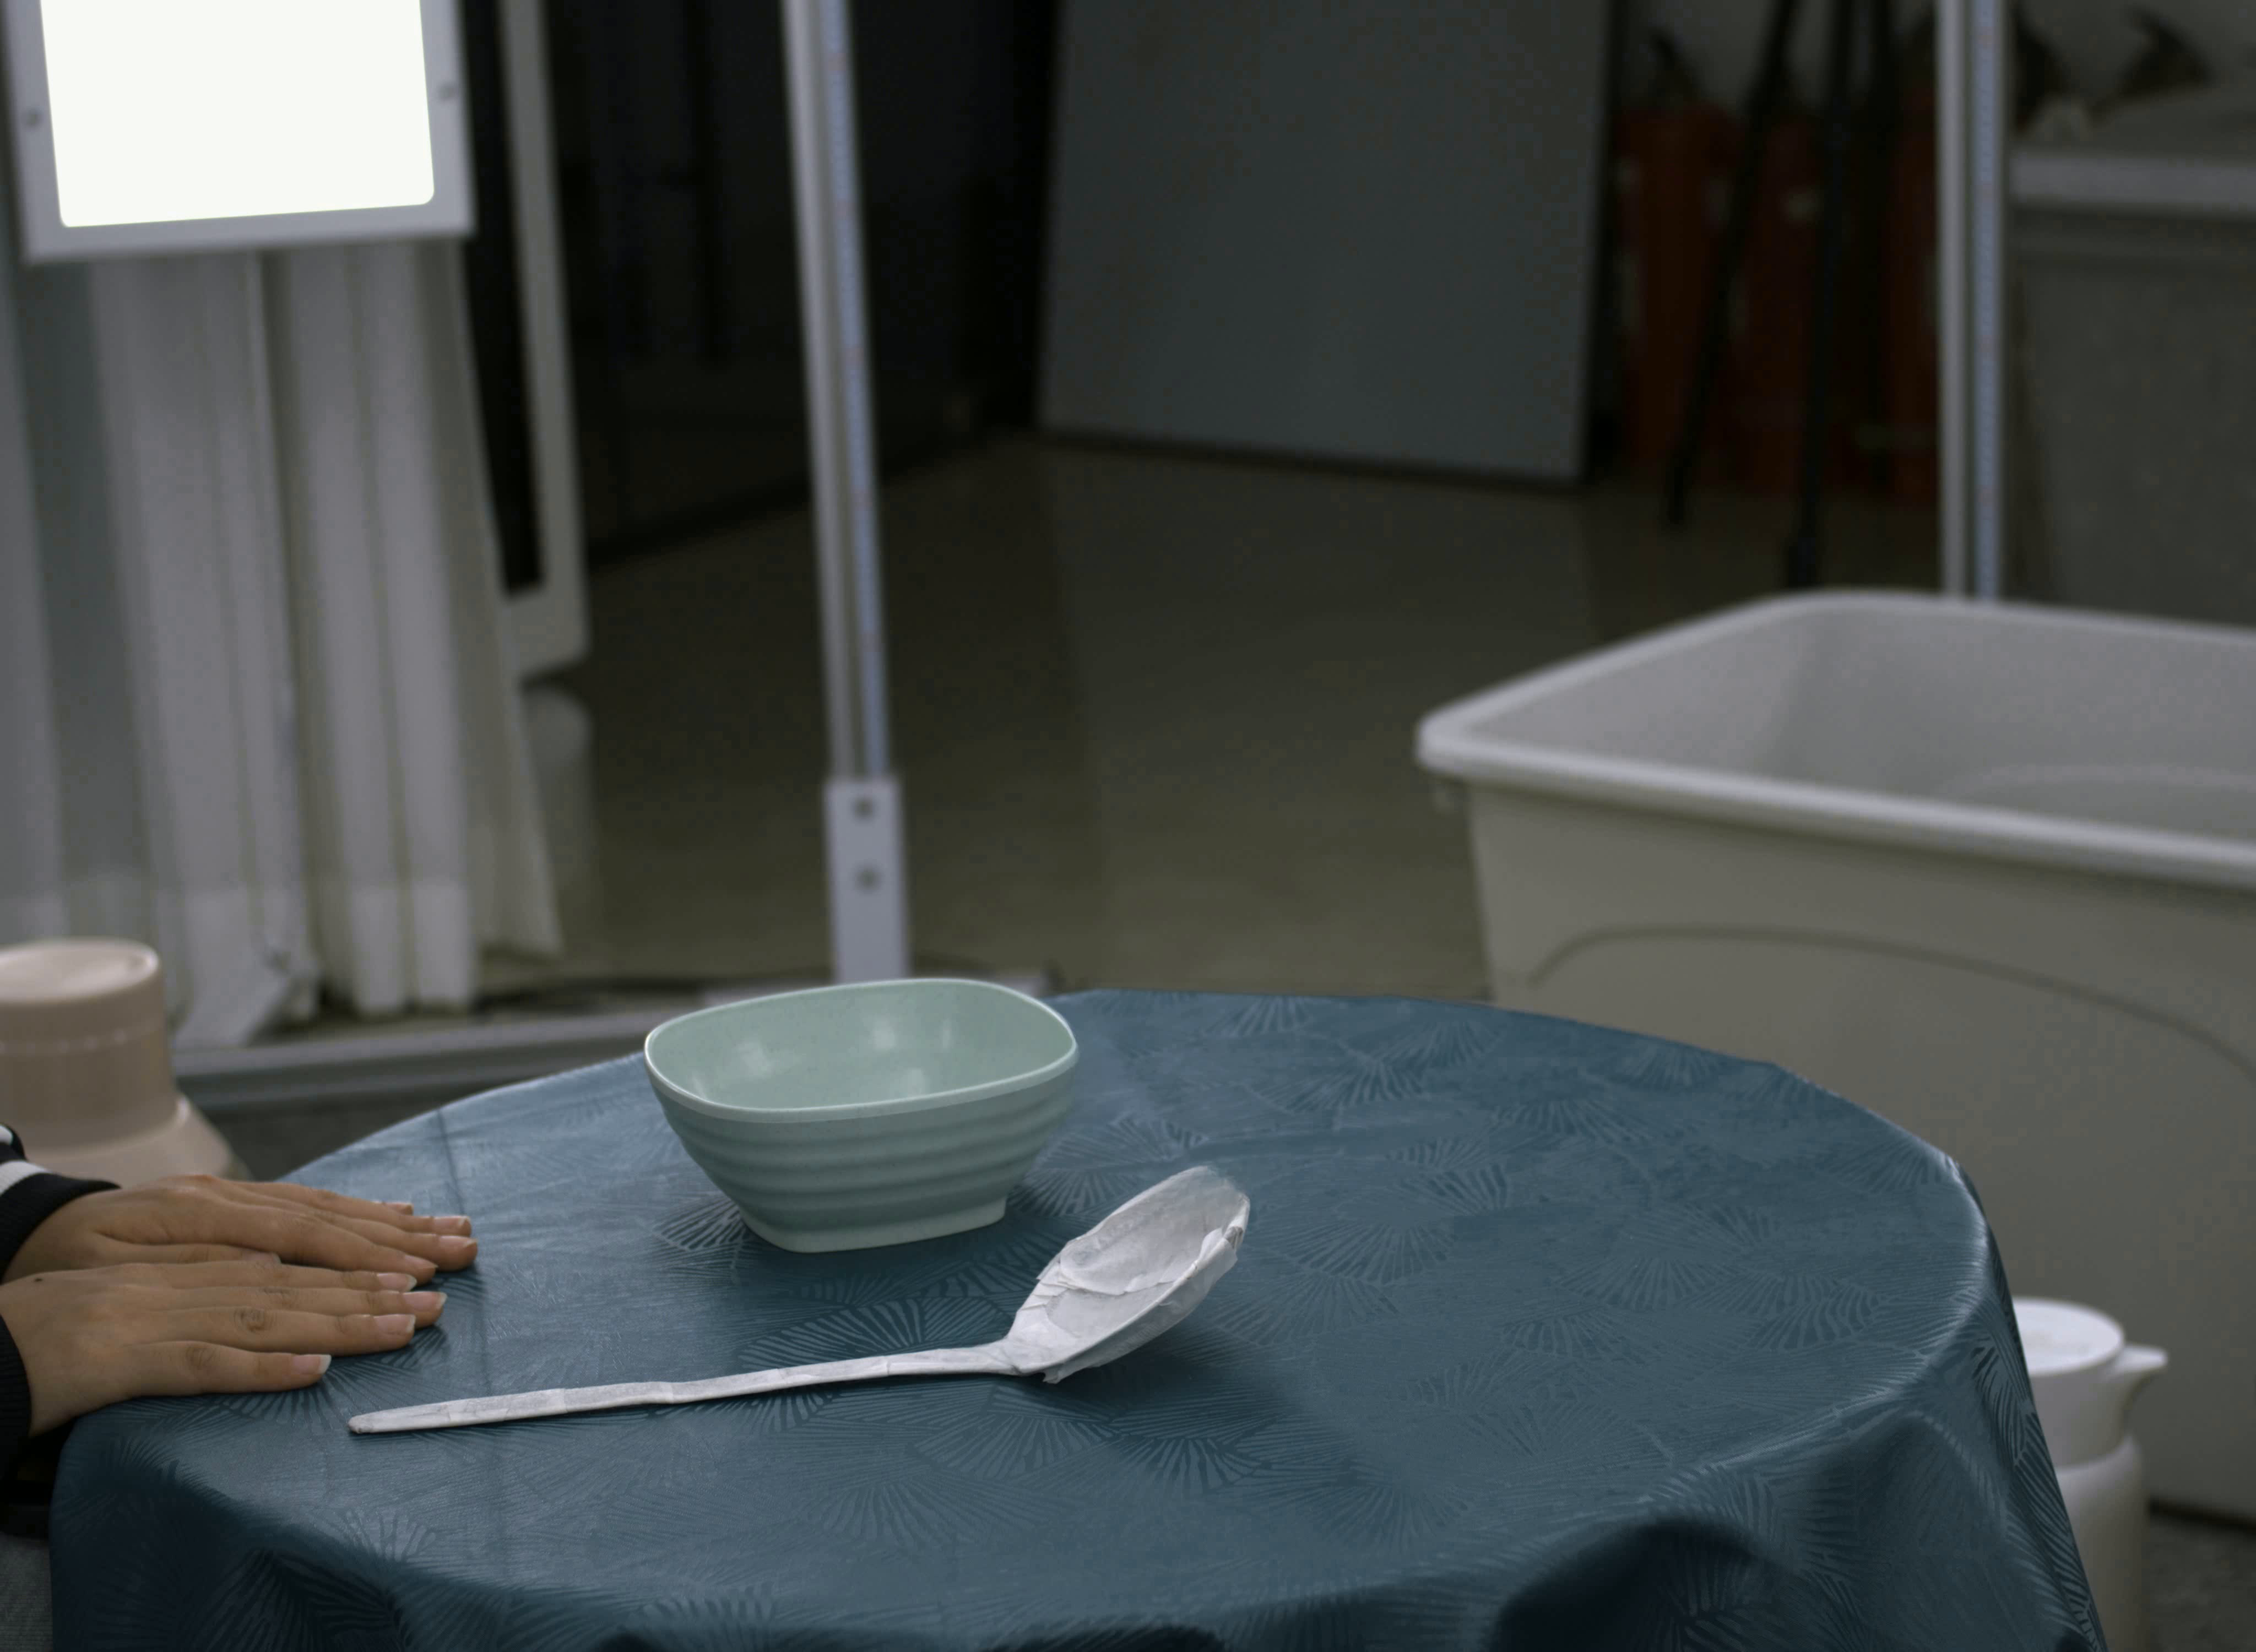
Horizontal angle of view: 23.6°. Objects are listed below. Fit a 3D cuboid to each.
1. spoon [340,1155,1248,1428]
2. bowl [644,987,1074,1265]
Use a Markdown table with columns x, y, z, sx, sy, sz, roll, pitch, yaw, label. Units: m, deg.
| x | y | z | sx | sy | sz | roll | pitch | yaw | label |
| --- | --- | --- | --- | --- | --- | --- | --- | --- | --- |
| -0.099 | 0.138 | 1.611 | 0.274 | 0.060 | 0.101 | -4 | 9 | 0 | spoon |
| -0.086 | 0.101 | 1.767 | 0.149 | 0.059 | 0.152 | -4 | 14 | 0 | bowl |
